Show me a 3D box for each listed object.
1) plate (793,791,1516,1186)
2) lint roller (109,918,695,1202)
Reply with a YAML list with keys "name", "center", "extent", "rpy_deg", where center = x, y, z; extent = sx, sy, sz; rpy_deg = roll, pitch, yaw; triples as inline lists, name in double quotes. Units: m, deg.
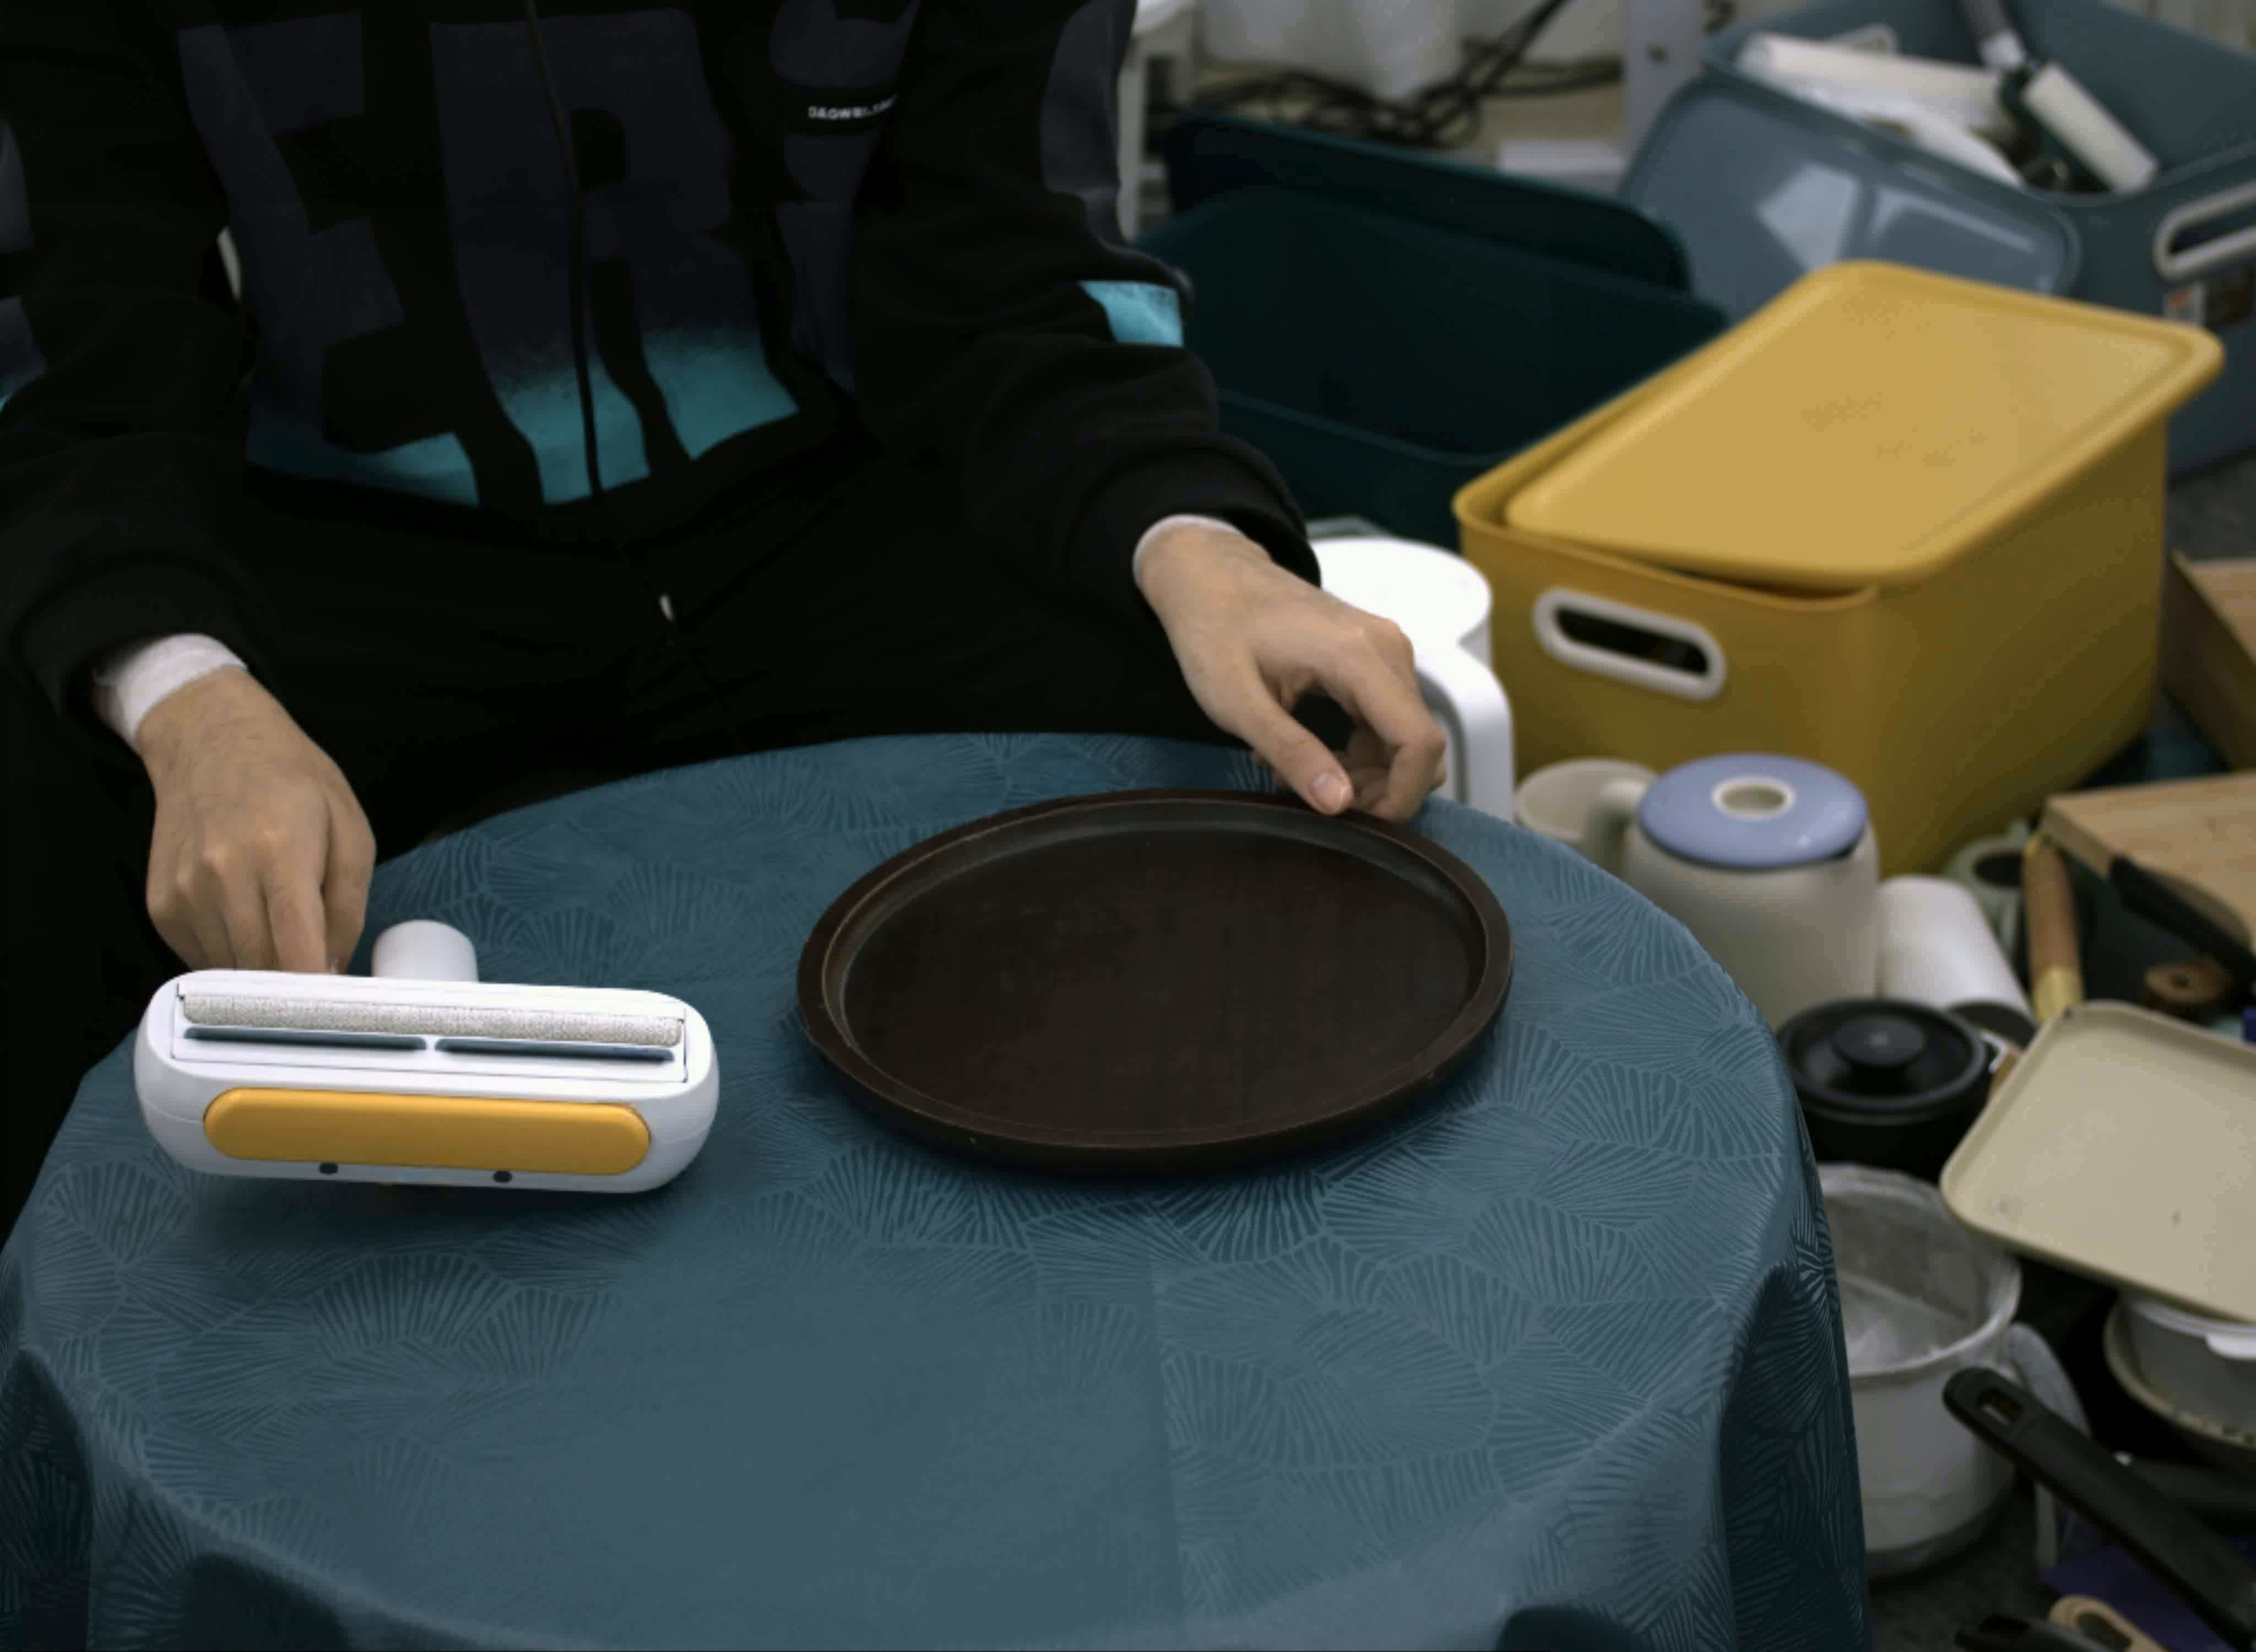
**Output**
- name: "plate"
  center: [0.009, 0.055, 1.963]
  extent: [0.253, 0.029, 0.258]
  rpy_deg: [-3, 27, 2]
- name: "lint roller"
  center: [-0.243, 0.066, 1.919]
  extent: [0.192, 0.073, 0.195]
  rpy_deg: [1, 25, -4]
